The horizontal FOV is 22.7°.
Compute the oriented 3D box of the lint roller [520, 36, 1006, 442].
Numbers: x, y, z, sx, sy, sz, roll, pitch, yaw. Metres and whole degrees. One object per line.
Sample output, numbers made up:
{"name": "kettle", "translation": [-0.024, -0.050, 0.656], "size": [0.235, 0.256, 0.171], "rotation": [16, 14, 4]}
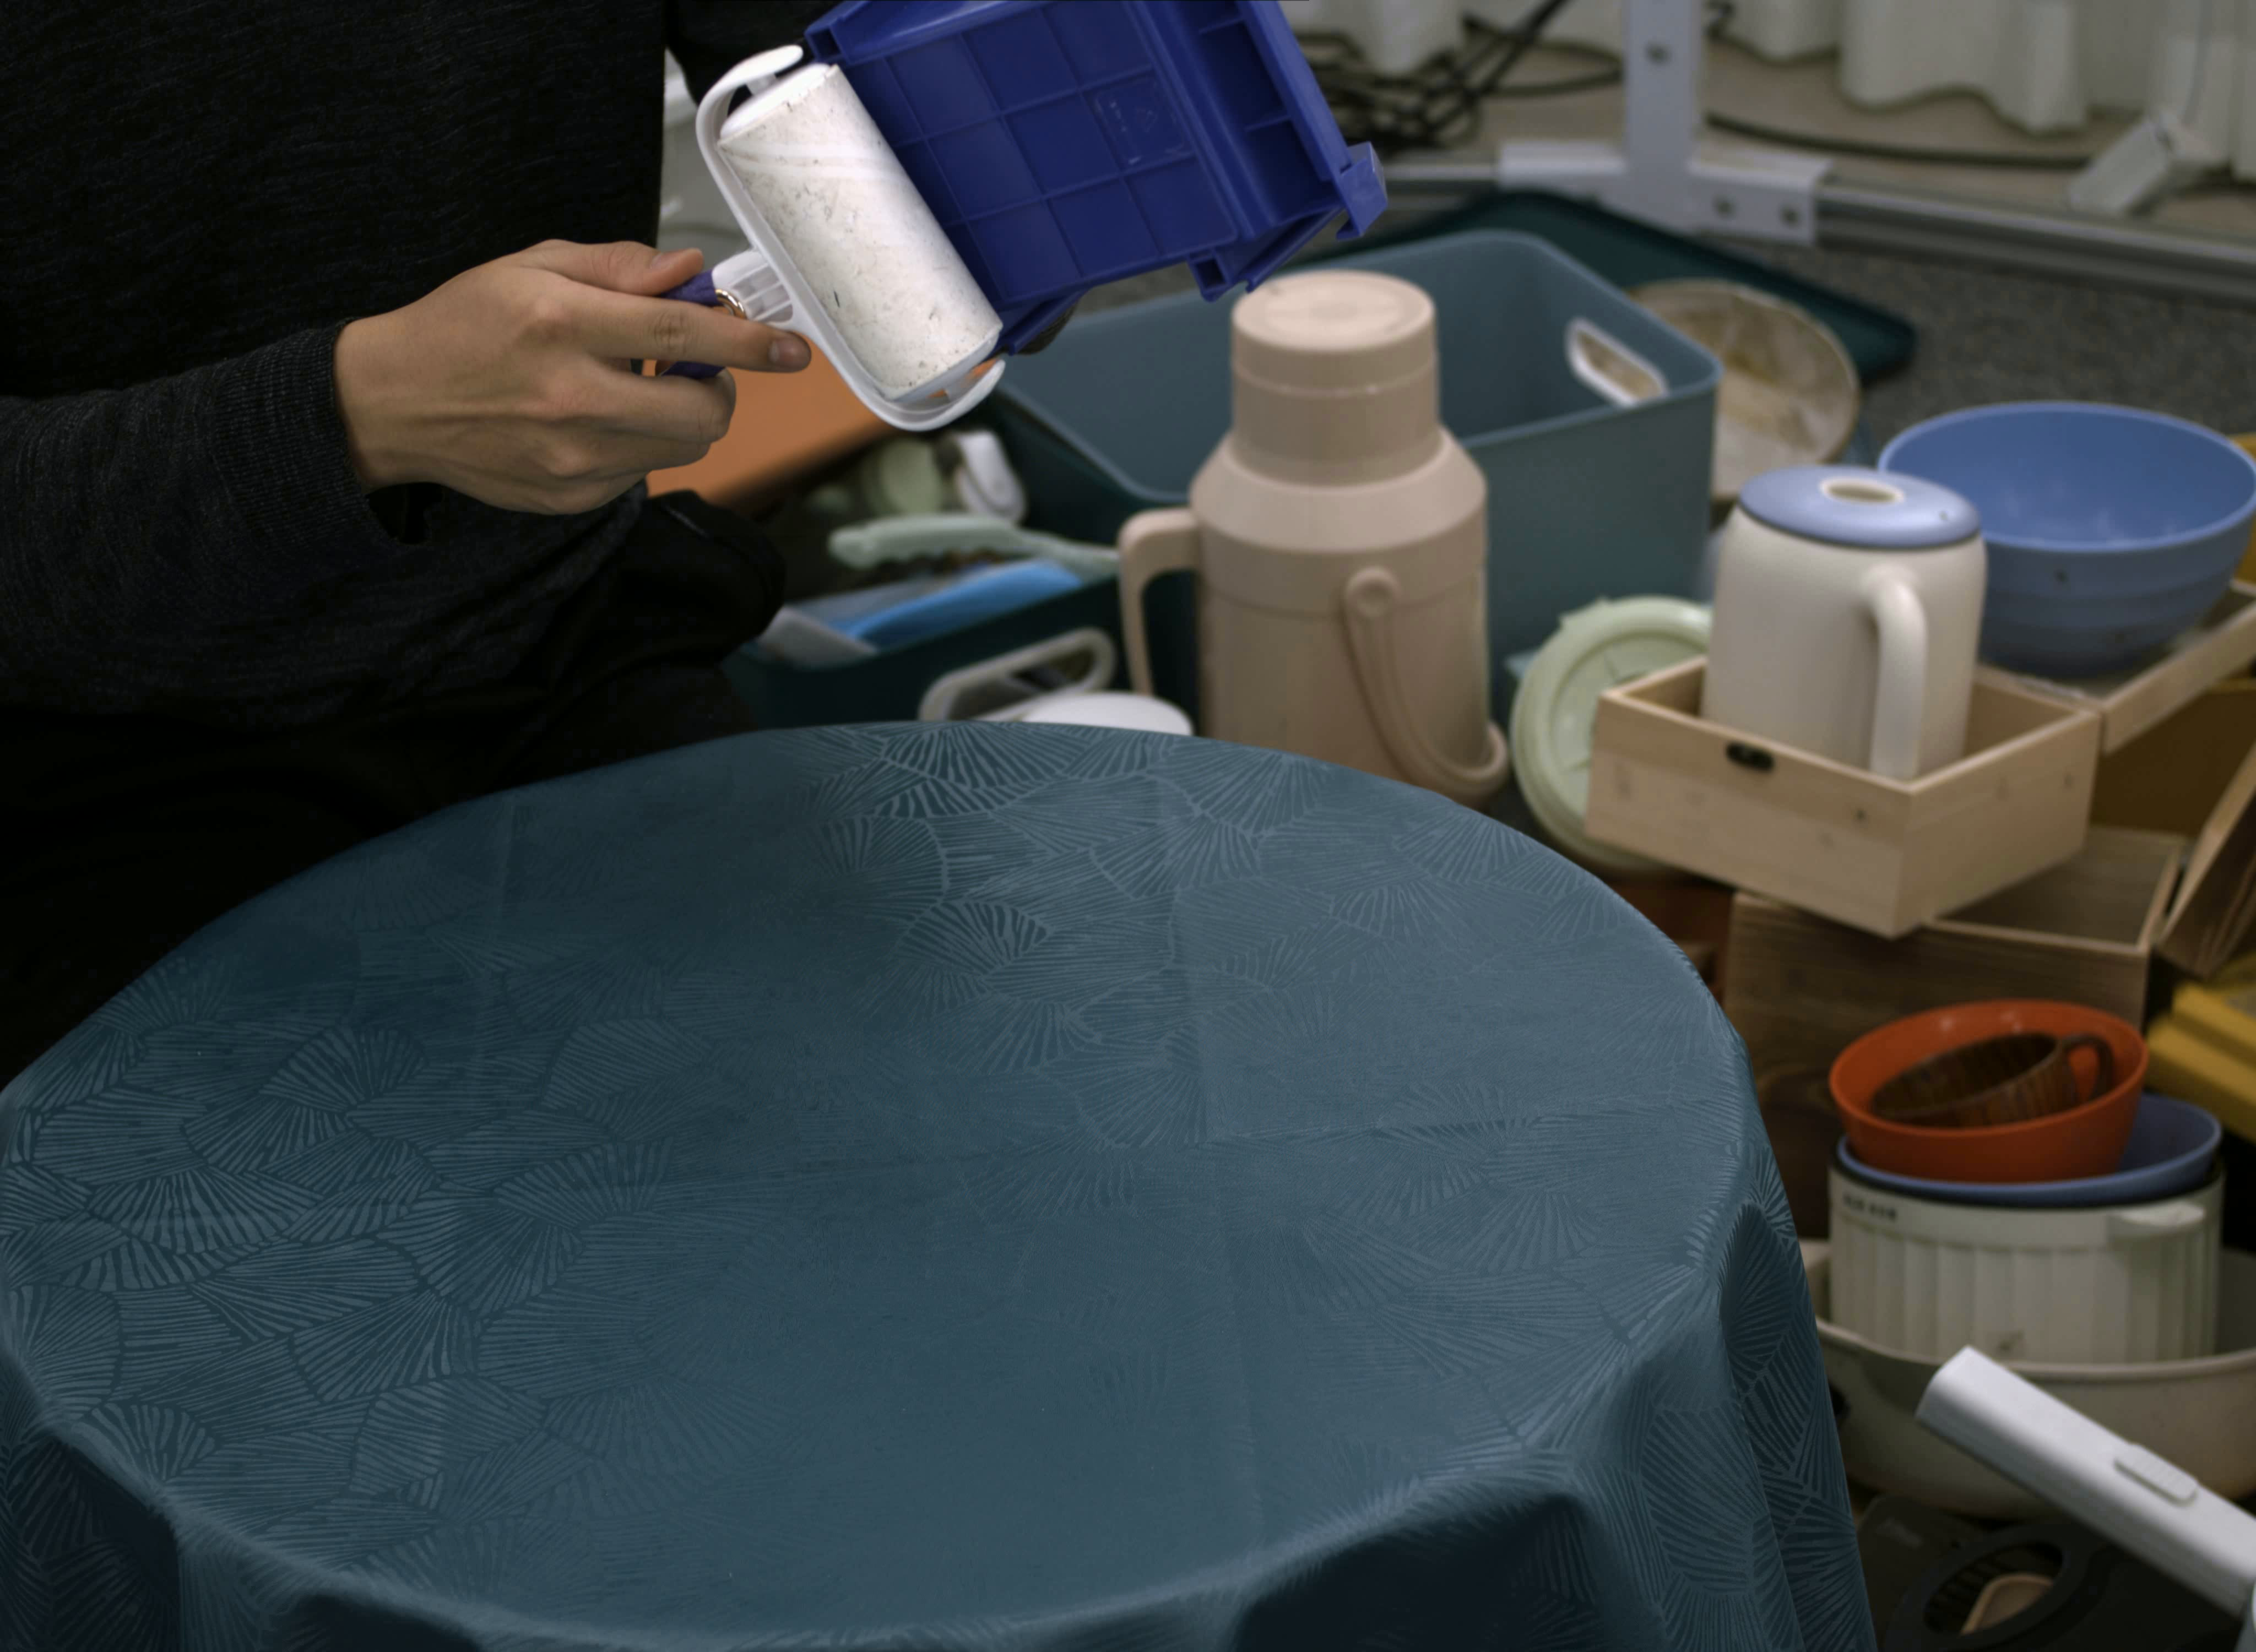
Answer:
{"name": "lint roller", "translation": [-0.138, -0.167, 1.837], "size": [0.178, 0.132, 0.051], "rotation": [-26, 13, 26]}

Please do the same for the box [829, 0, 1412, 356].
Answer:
{"name": "box", "translation": [0.001, -0.236, 1.806], "size": [0.177, 0.124, 0.083], "rotation": [-14, 19, 39]}
